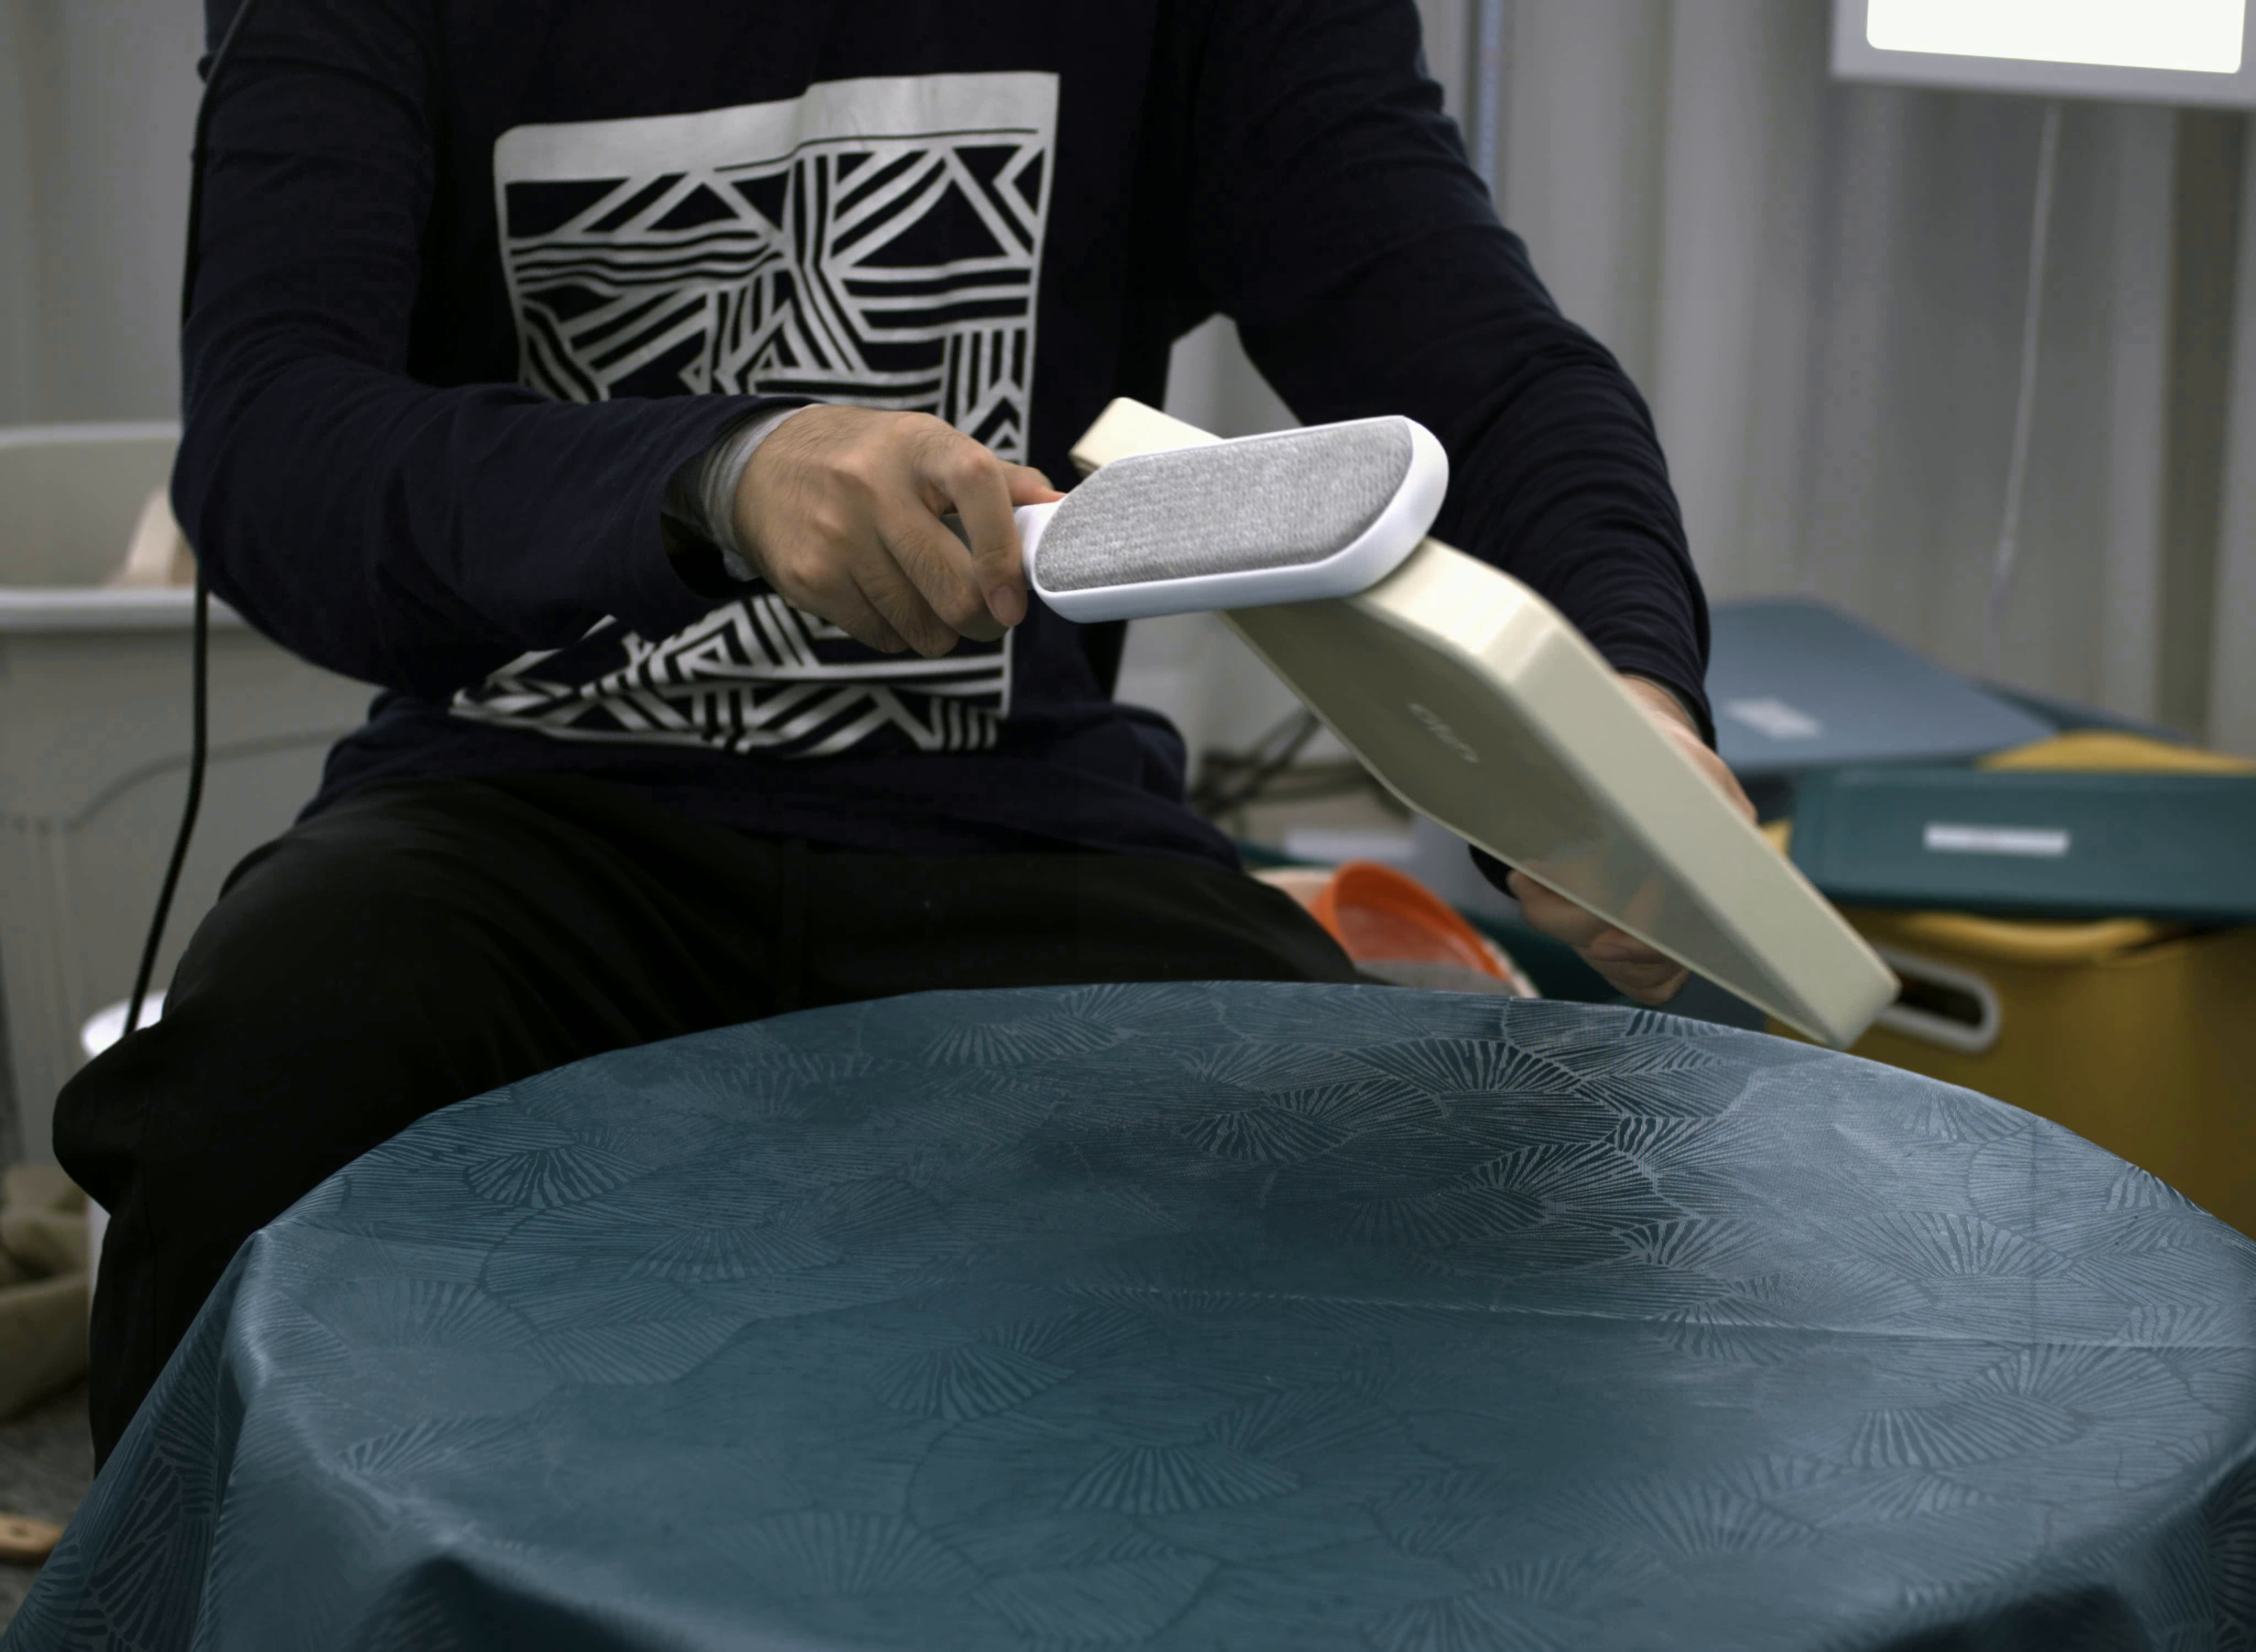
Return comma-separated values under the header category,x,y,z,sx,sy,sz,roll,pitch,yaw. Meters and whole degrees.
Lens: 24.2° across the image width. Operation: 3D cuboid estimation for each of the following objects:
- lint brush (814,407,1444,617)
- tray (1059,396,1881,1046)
category,x,y,z,sx,sy,sz,roll,pitch,yaw
lint brush,-0.007,-0.091,1.591,0.021,0.060,0.306,35,-21,-30
tray,0.097,-0.036,1.604,0.027,0.194,0.297,-48,27,-5
